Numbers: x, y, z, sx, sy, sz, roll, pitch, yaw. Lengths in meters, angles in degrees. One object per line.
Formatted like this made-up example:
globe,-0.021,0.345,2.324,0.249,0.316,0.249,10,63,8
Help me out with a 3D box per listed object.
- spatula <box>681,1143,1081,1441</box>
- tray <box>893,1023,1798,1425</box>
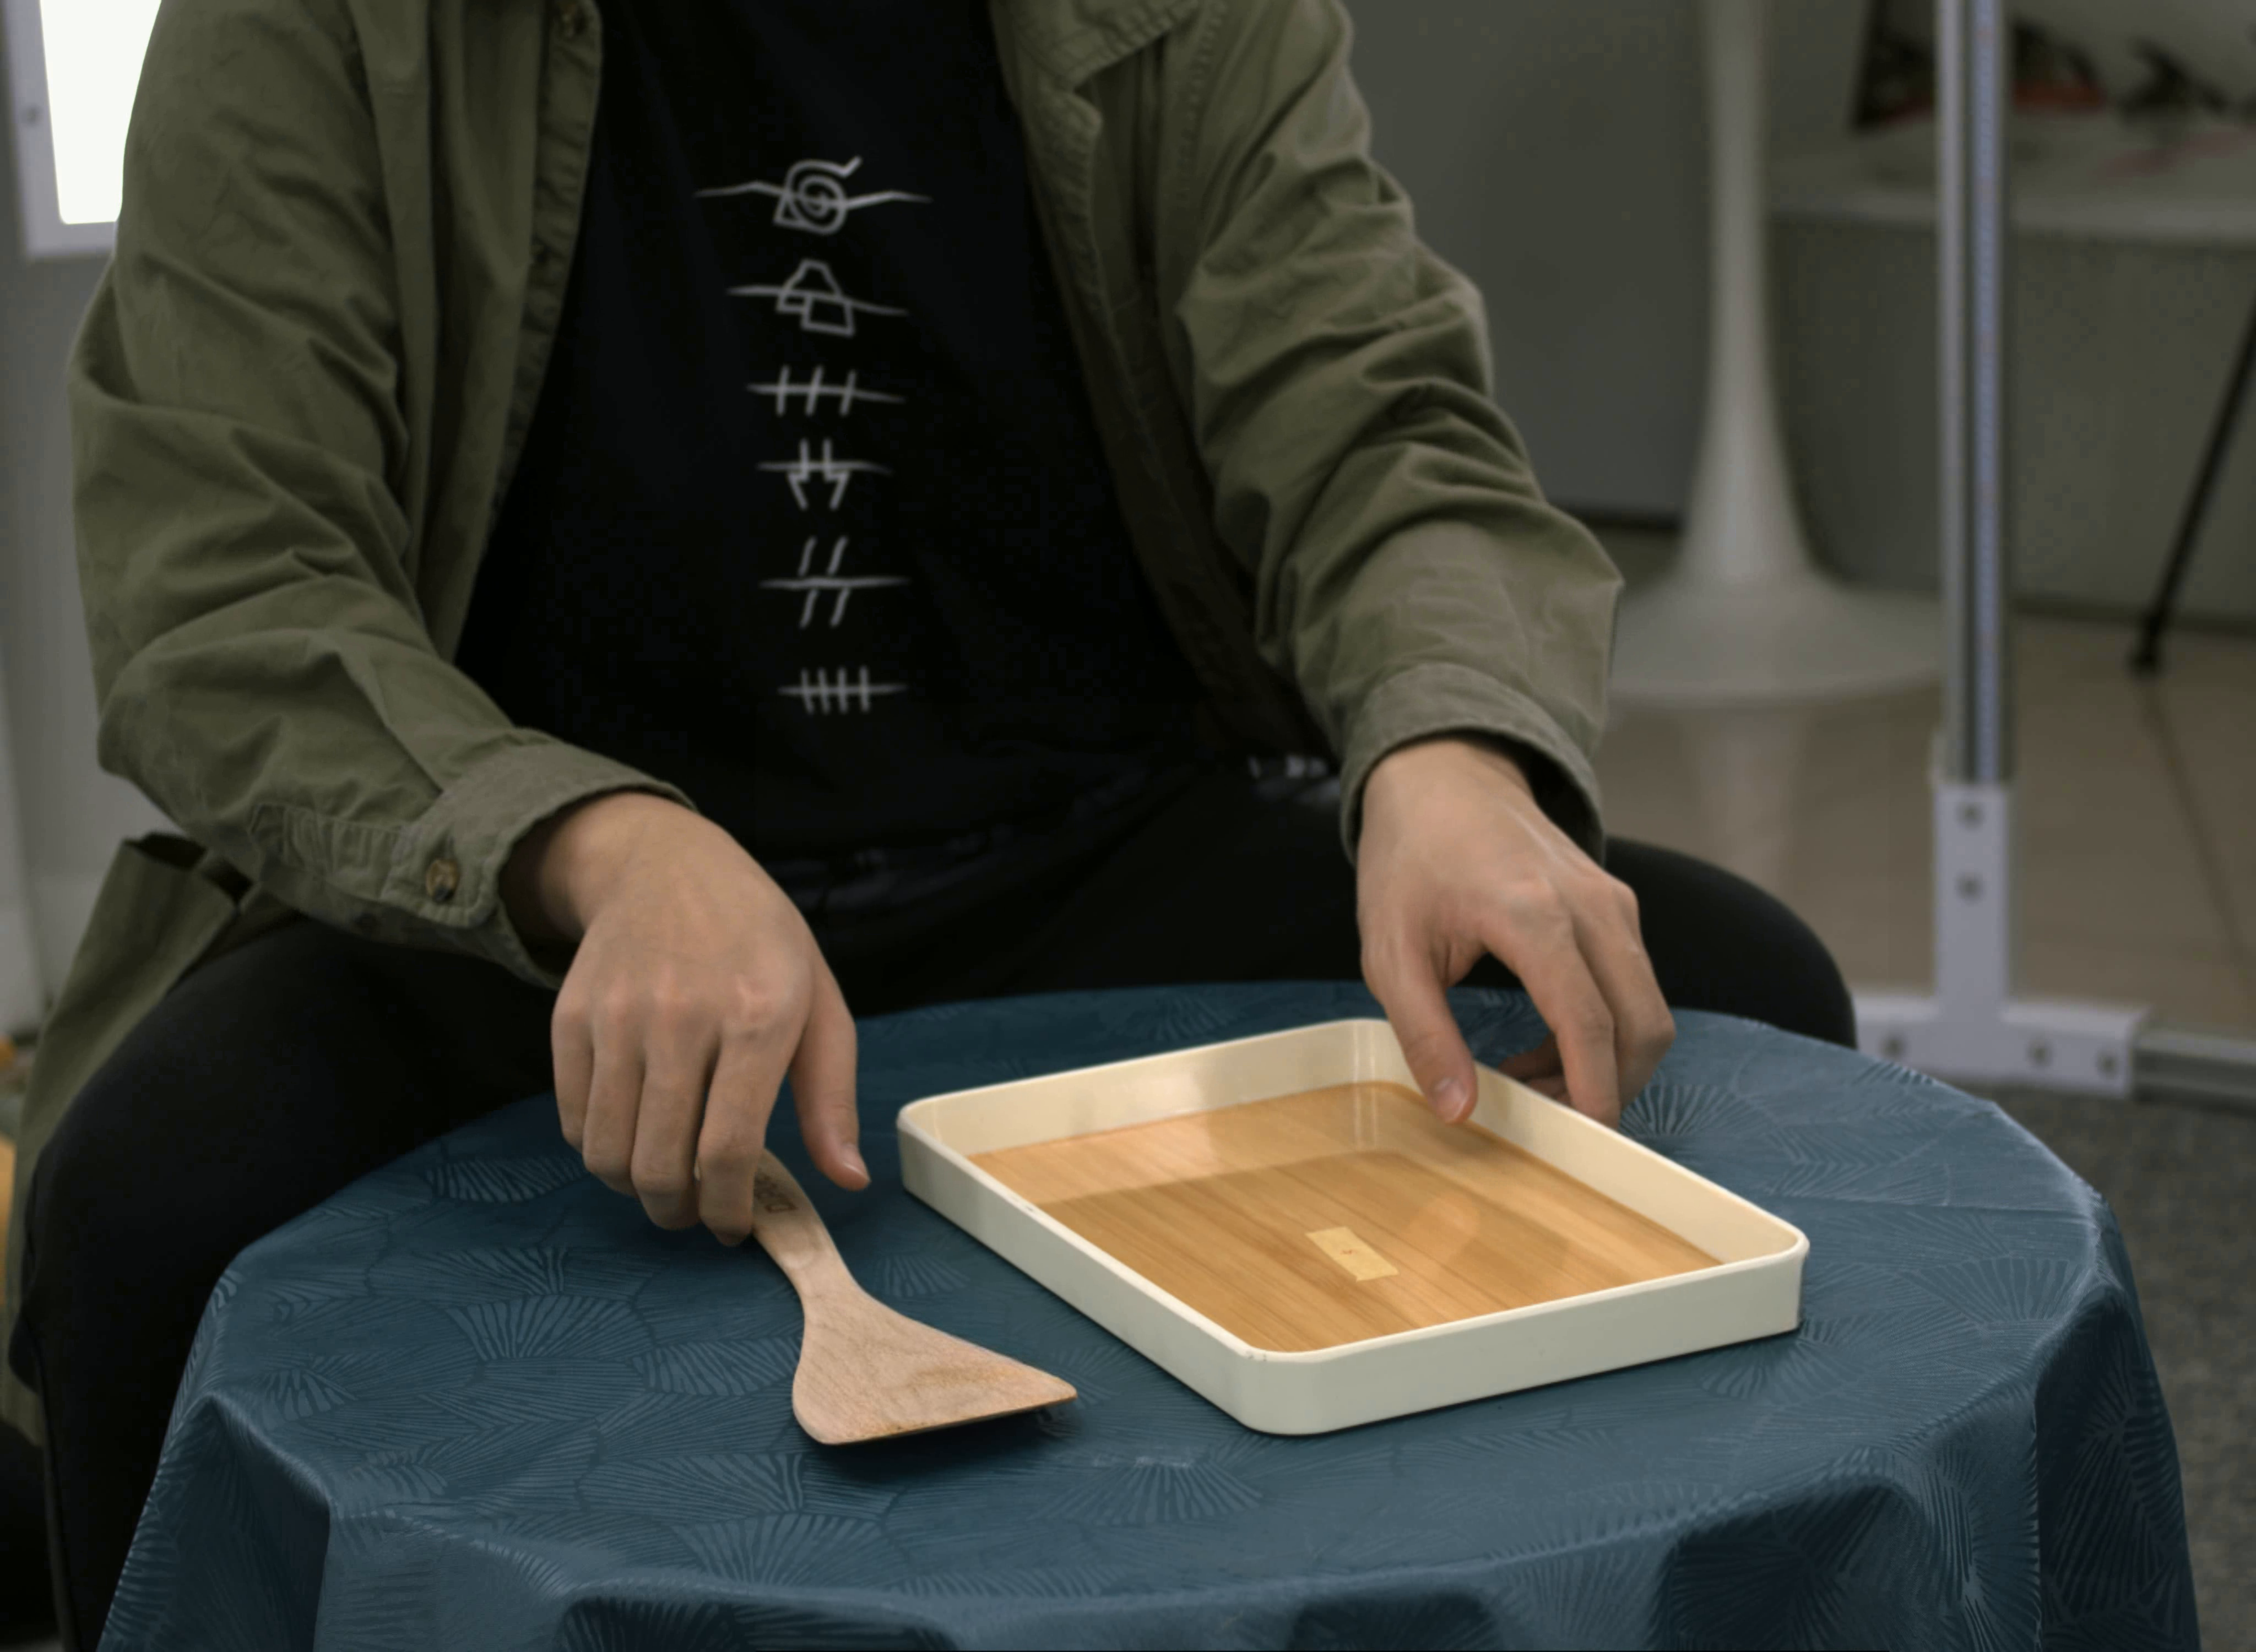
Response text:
spatula,-0.092,0.140,1.684,0.078,0.017,0.330,-7,14,-16
tray,0.062,0.120,1.698,0.187,0.028,0.303,-10,14,-21
